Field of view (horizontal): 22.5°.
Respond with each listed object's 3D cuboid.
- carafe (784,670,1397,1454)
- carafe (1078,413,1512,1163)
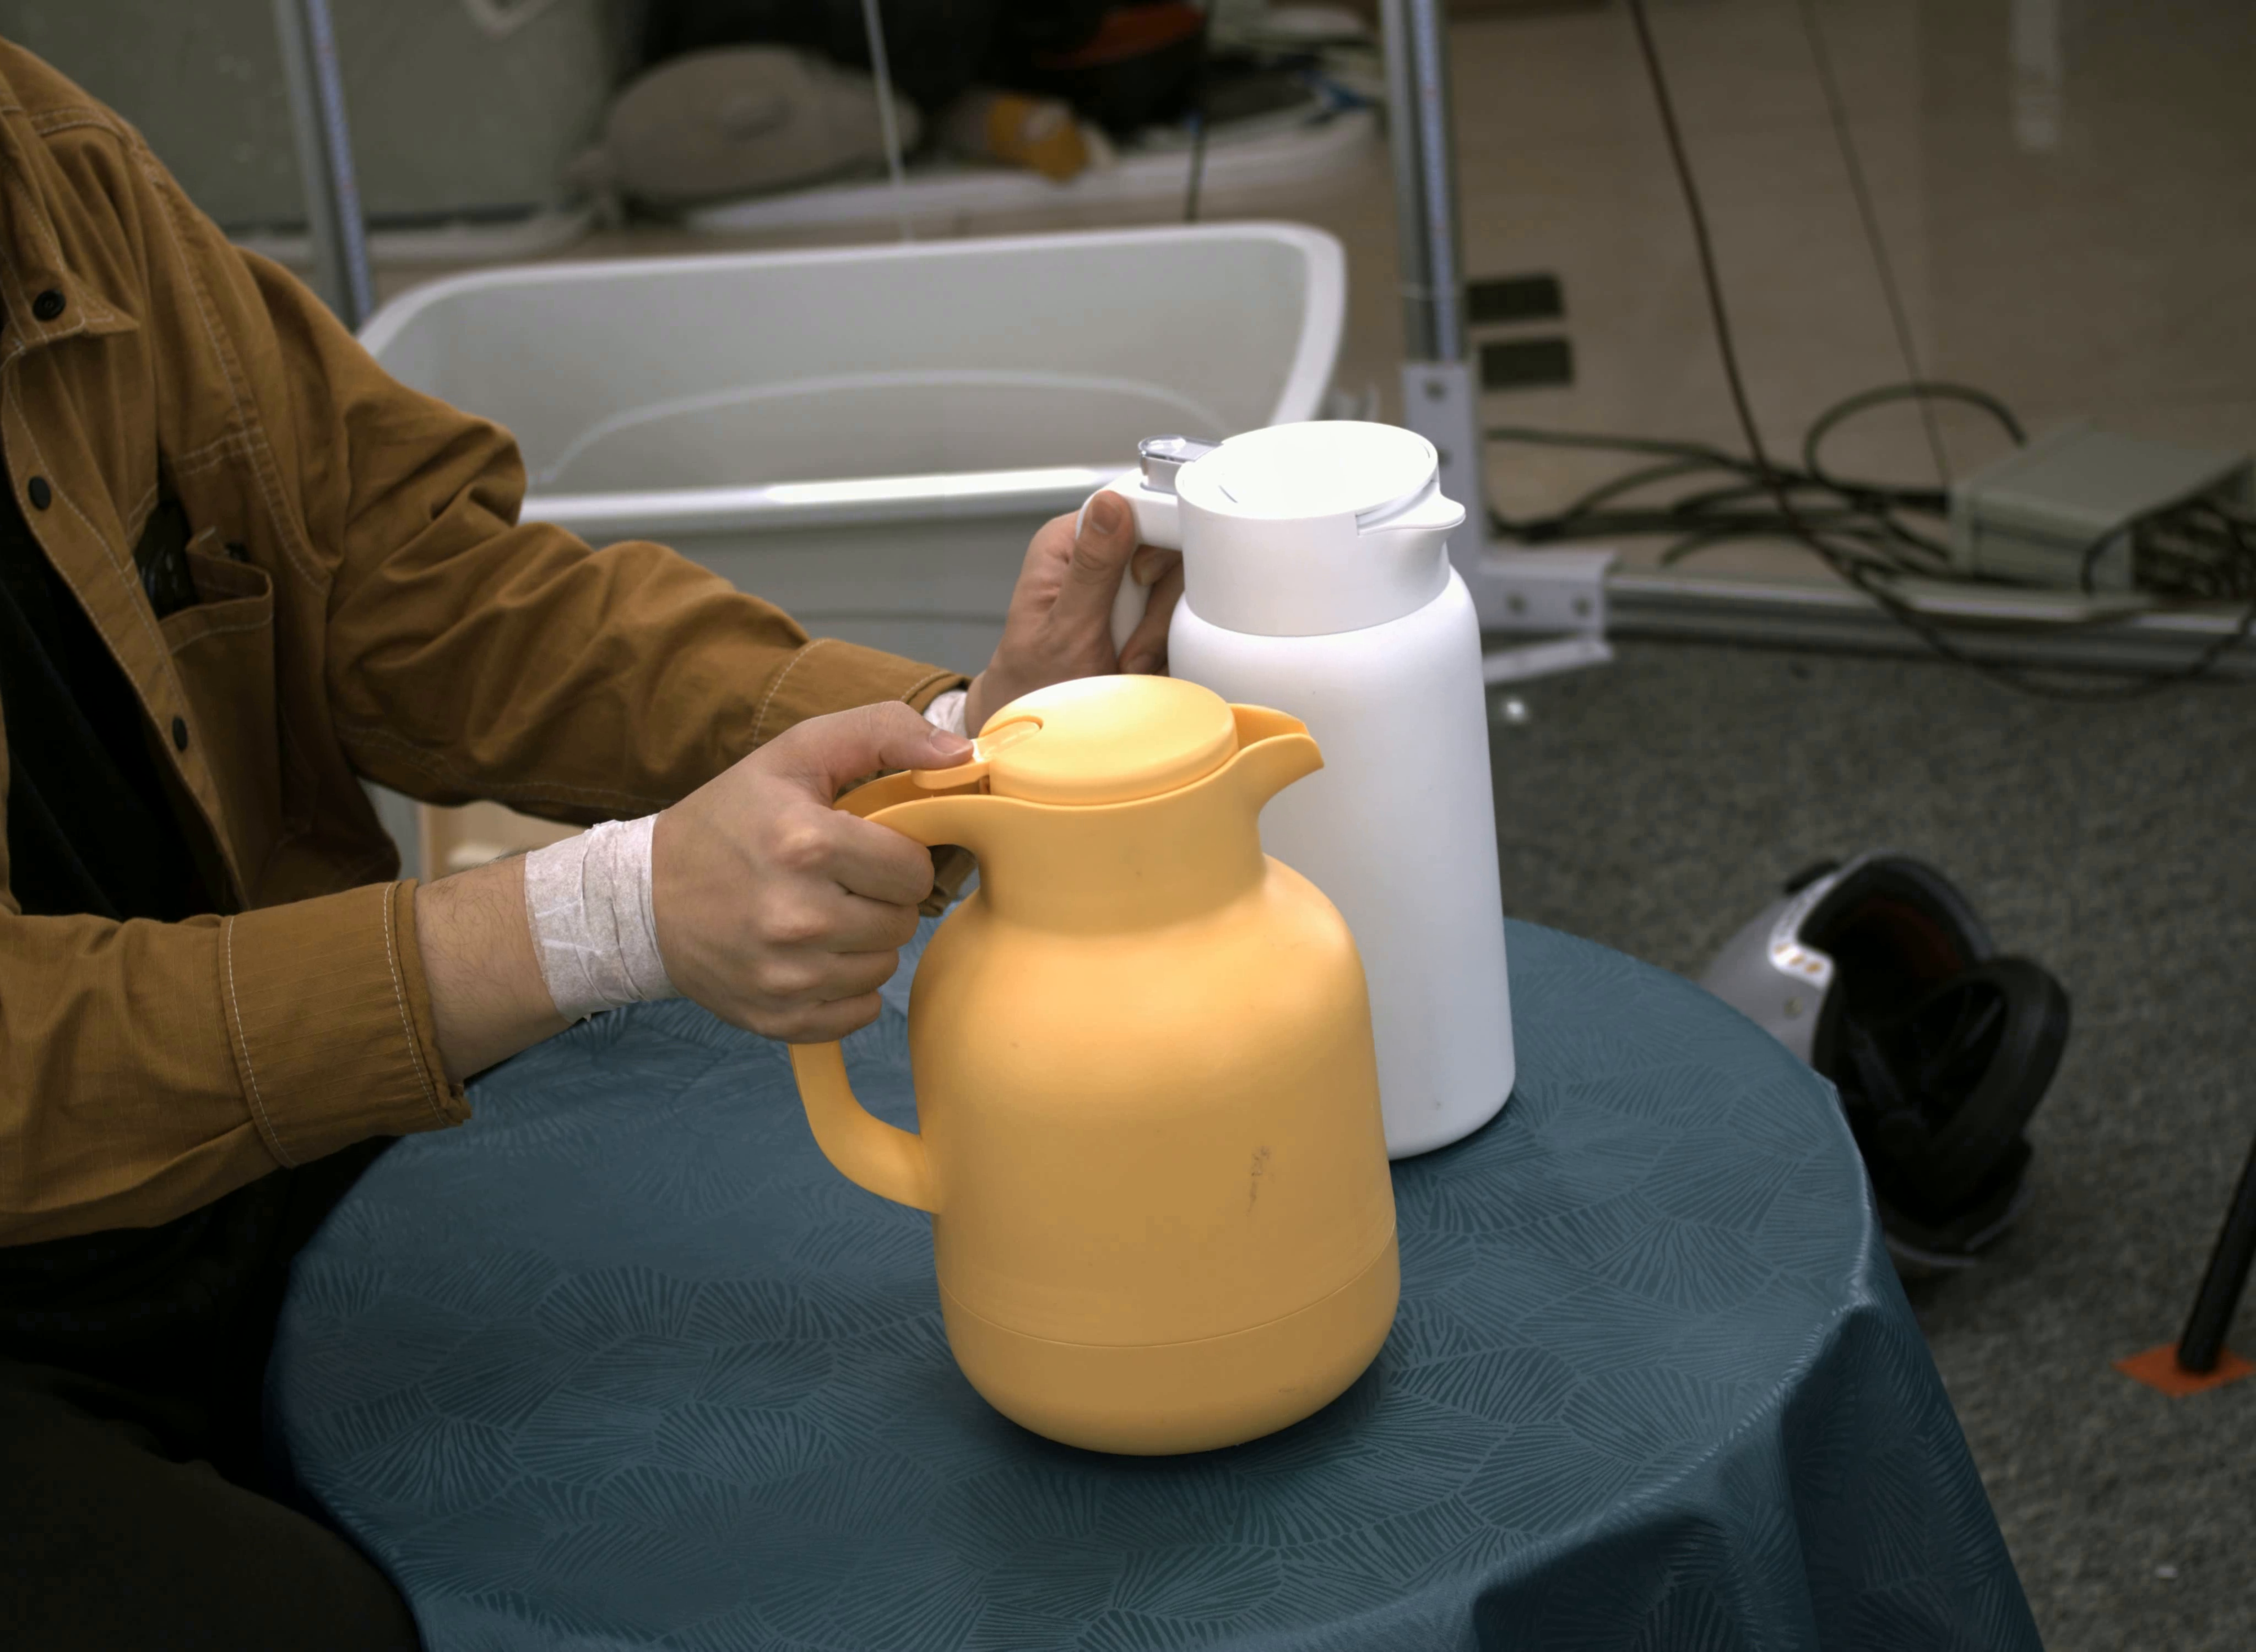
[{"bbox_3d":[-0.014,0.080,1.965,0.202,0.264,0.161,-8,23,-6],"label":"carafe"},{"bbox_3d":[0.064,-0.015,2.144,0.172,0.273,0.122,13,34,35],"label":"carafe"}]
